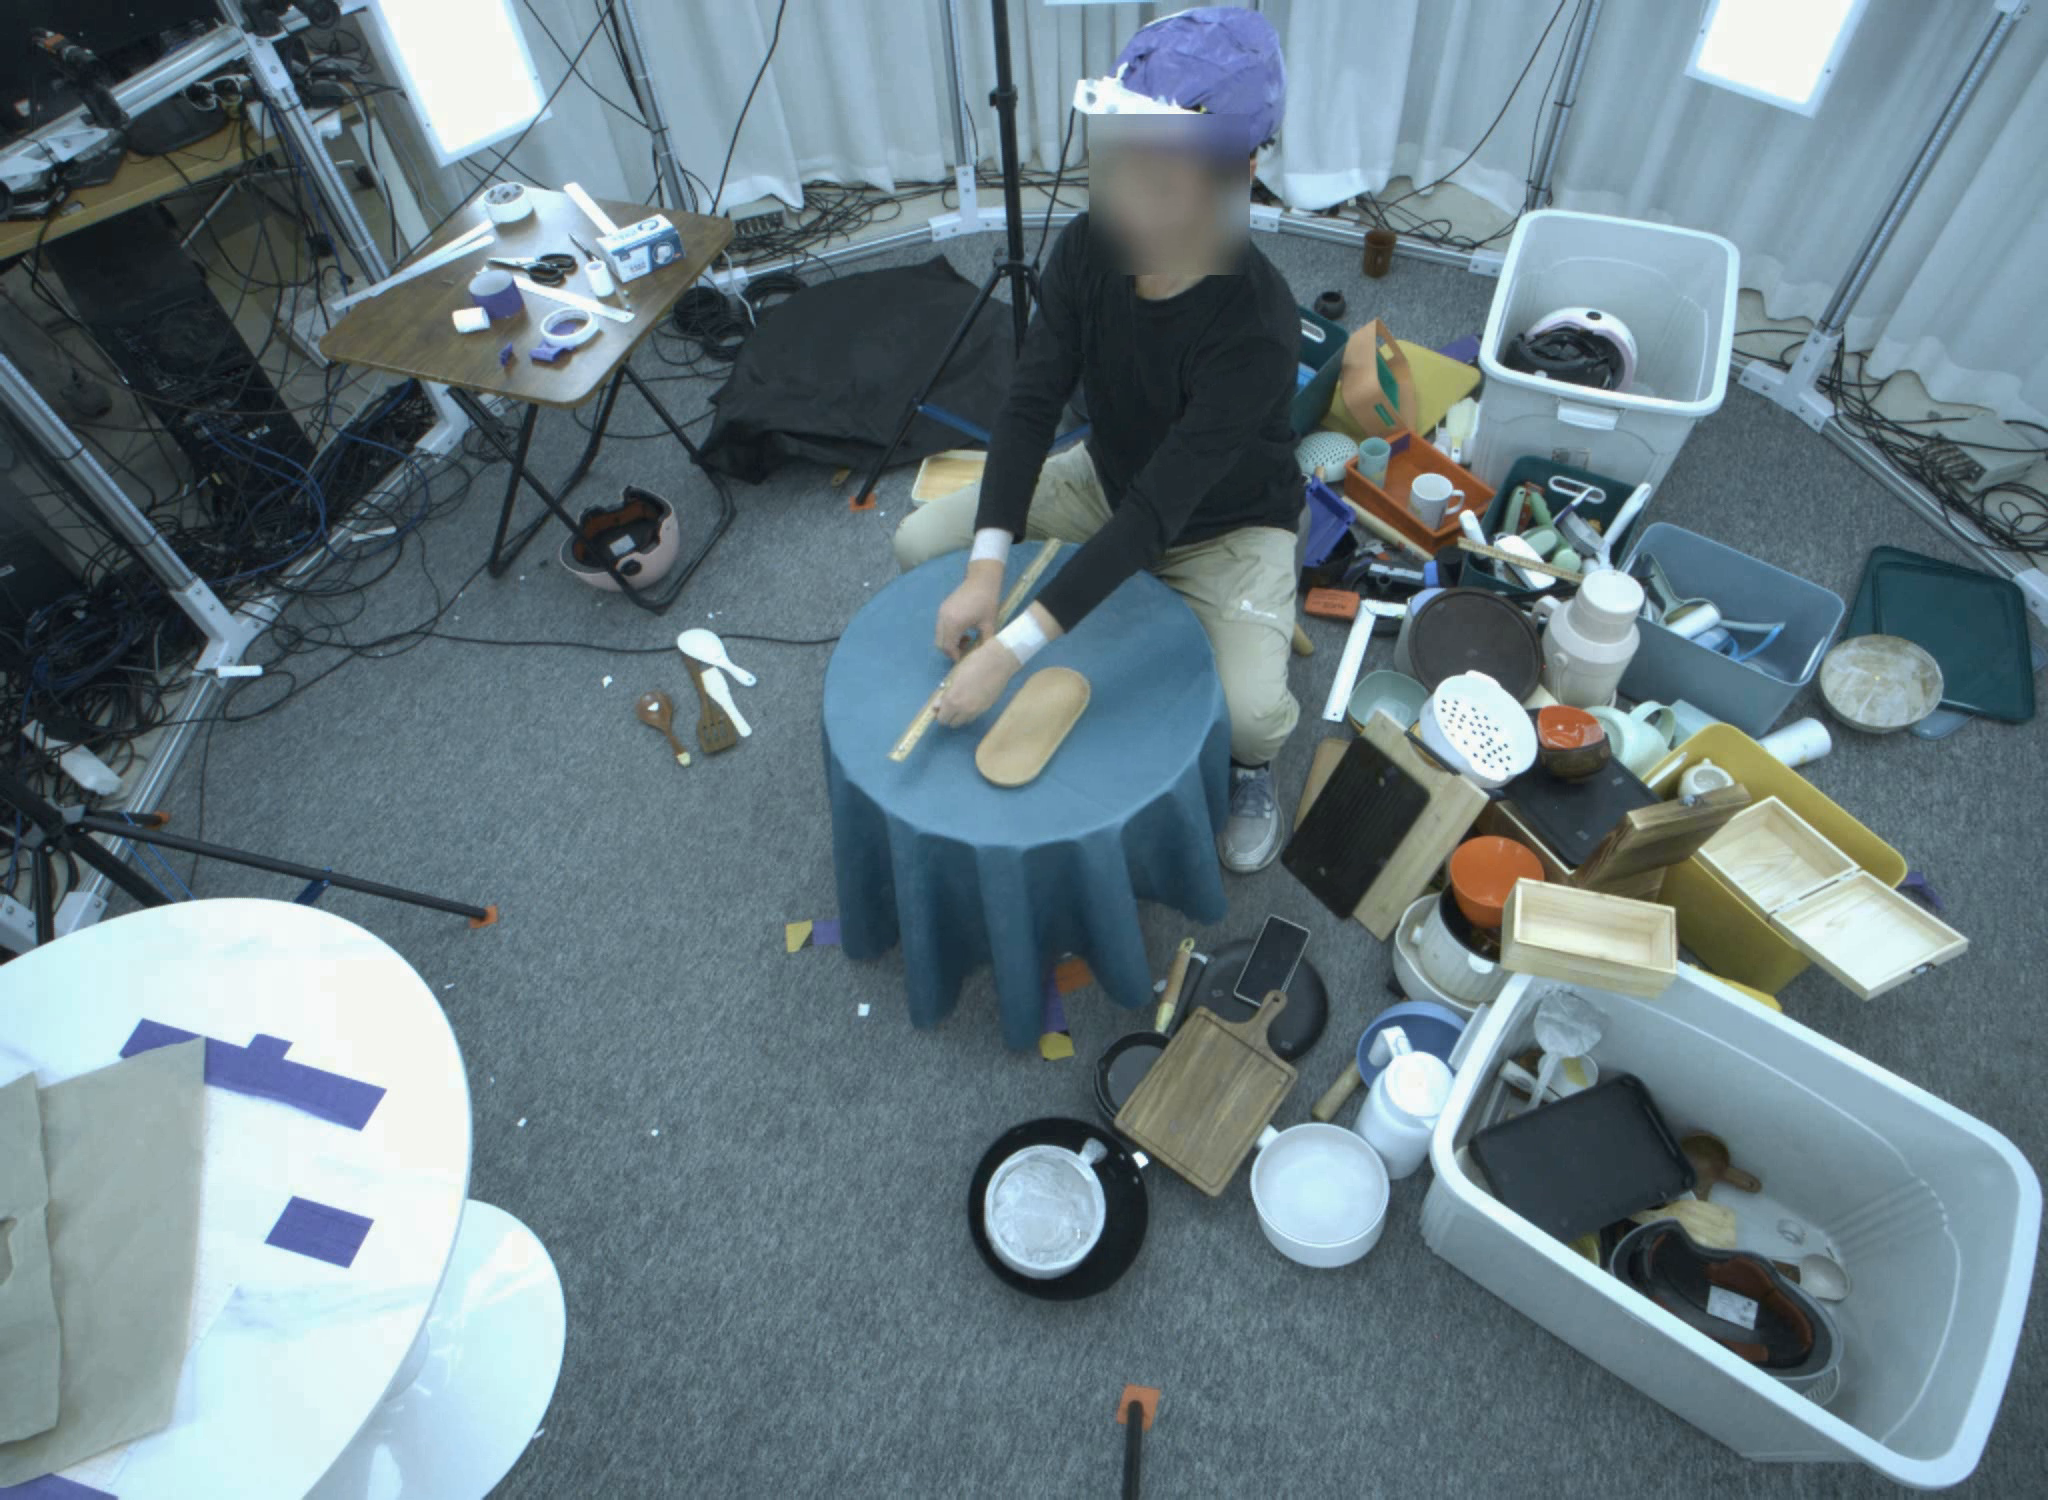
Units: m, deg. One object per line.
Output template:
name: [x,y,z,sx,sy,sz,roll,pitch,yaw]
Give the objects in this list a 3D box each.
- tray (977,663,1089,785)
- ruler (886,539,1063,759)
tray: [0.015,-0.039,1.805,0.100,0.020,0.232,24,57,16]
ruler: [-0.064,-0.165,1.858,0.026,0.006,0.502,25,56,14]
